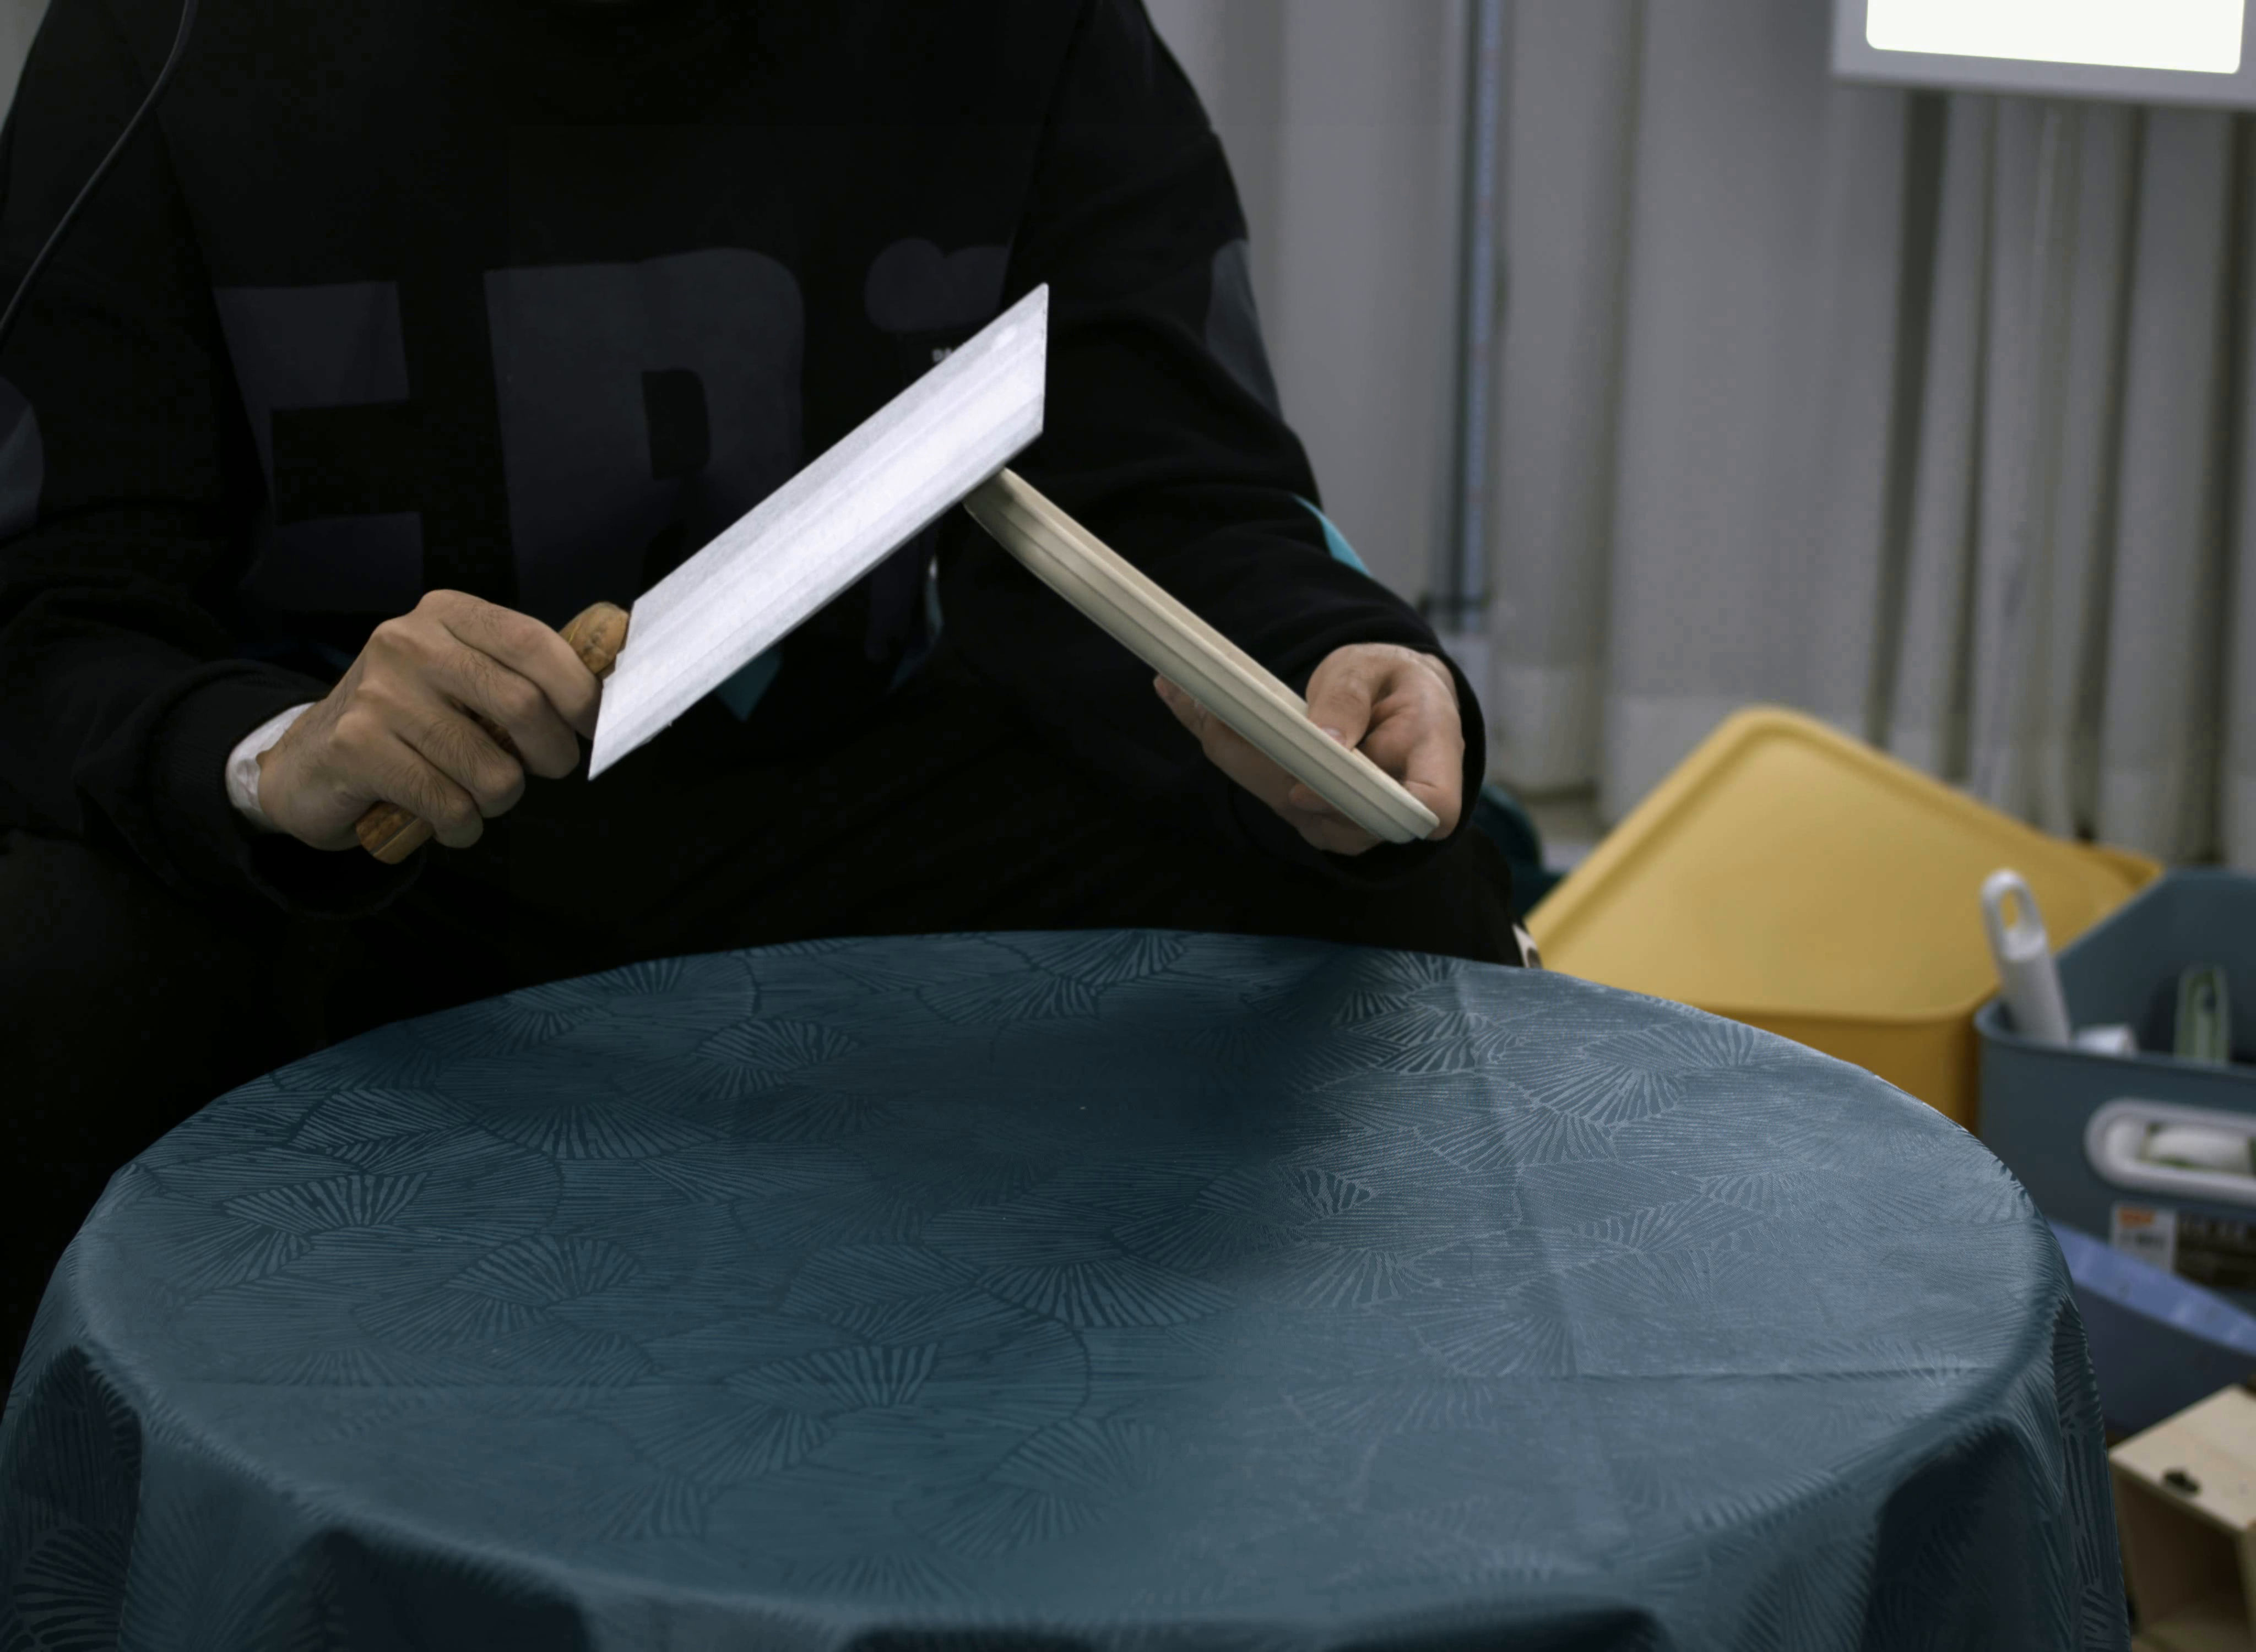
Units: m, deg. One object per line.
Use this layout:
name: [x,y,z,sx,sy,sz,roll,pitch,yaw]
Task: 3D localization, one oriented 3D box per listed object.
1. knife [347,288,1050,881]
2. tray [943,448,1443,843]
knife: [-0.138,-0.061,1.640,0.305,0.021,0.092,-36,29,23]
tray: [0.011,-0.064,1.690,0.172,0.017,0.238,37,3,-17]
